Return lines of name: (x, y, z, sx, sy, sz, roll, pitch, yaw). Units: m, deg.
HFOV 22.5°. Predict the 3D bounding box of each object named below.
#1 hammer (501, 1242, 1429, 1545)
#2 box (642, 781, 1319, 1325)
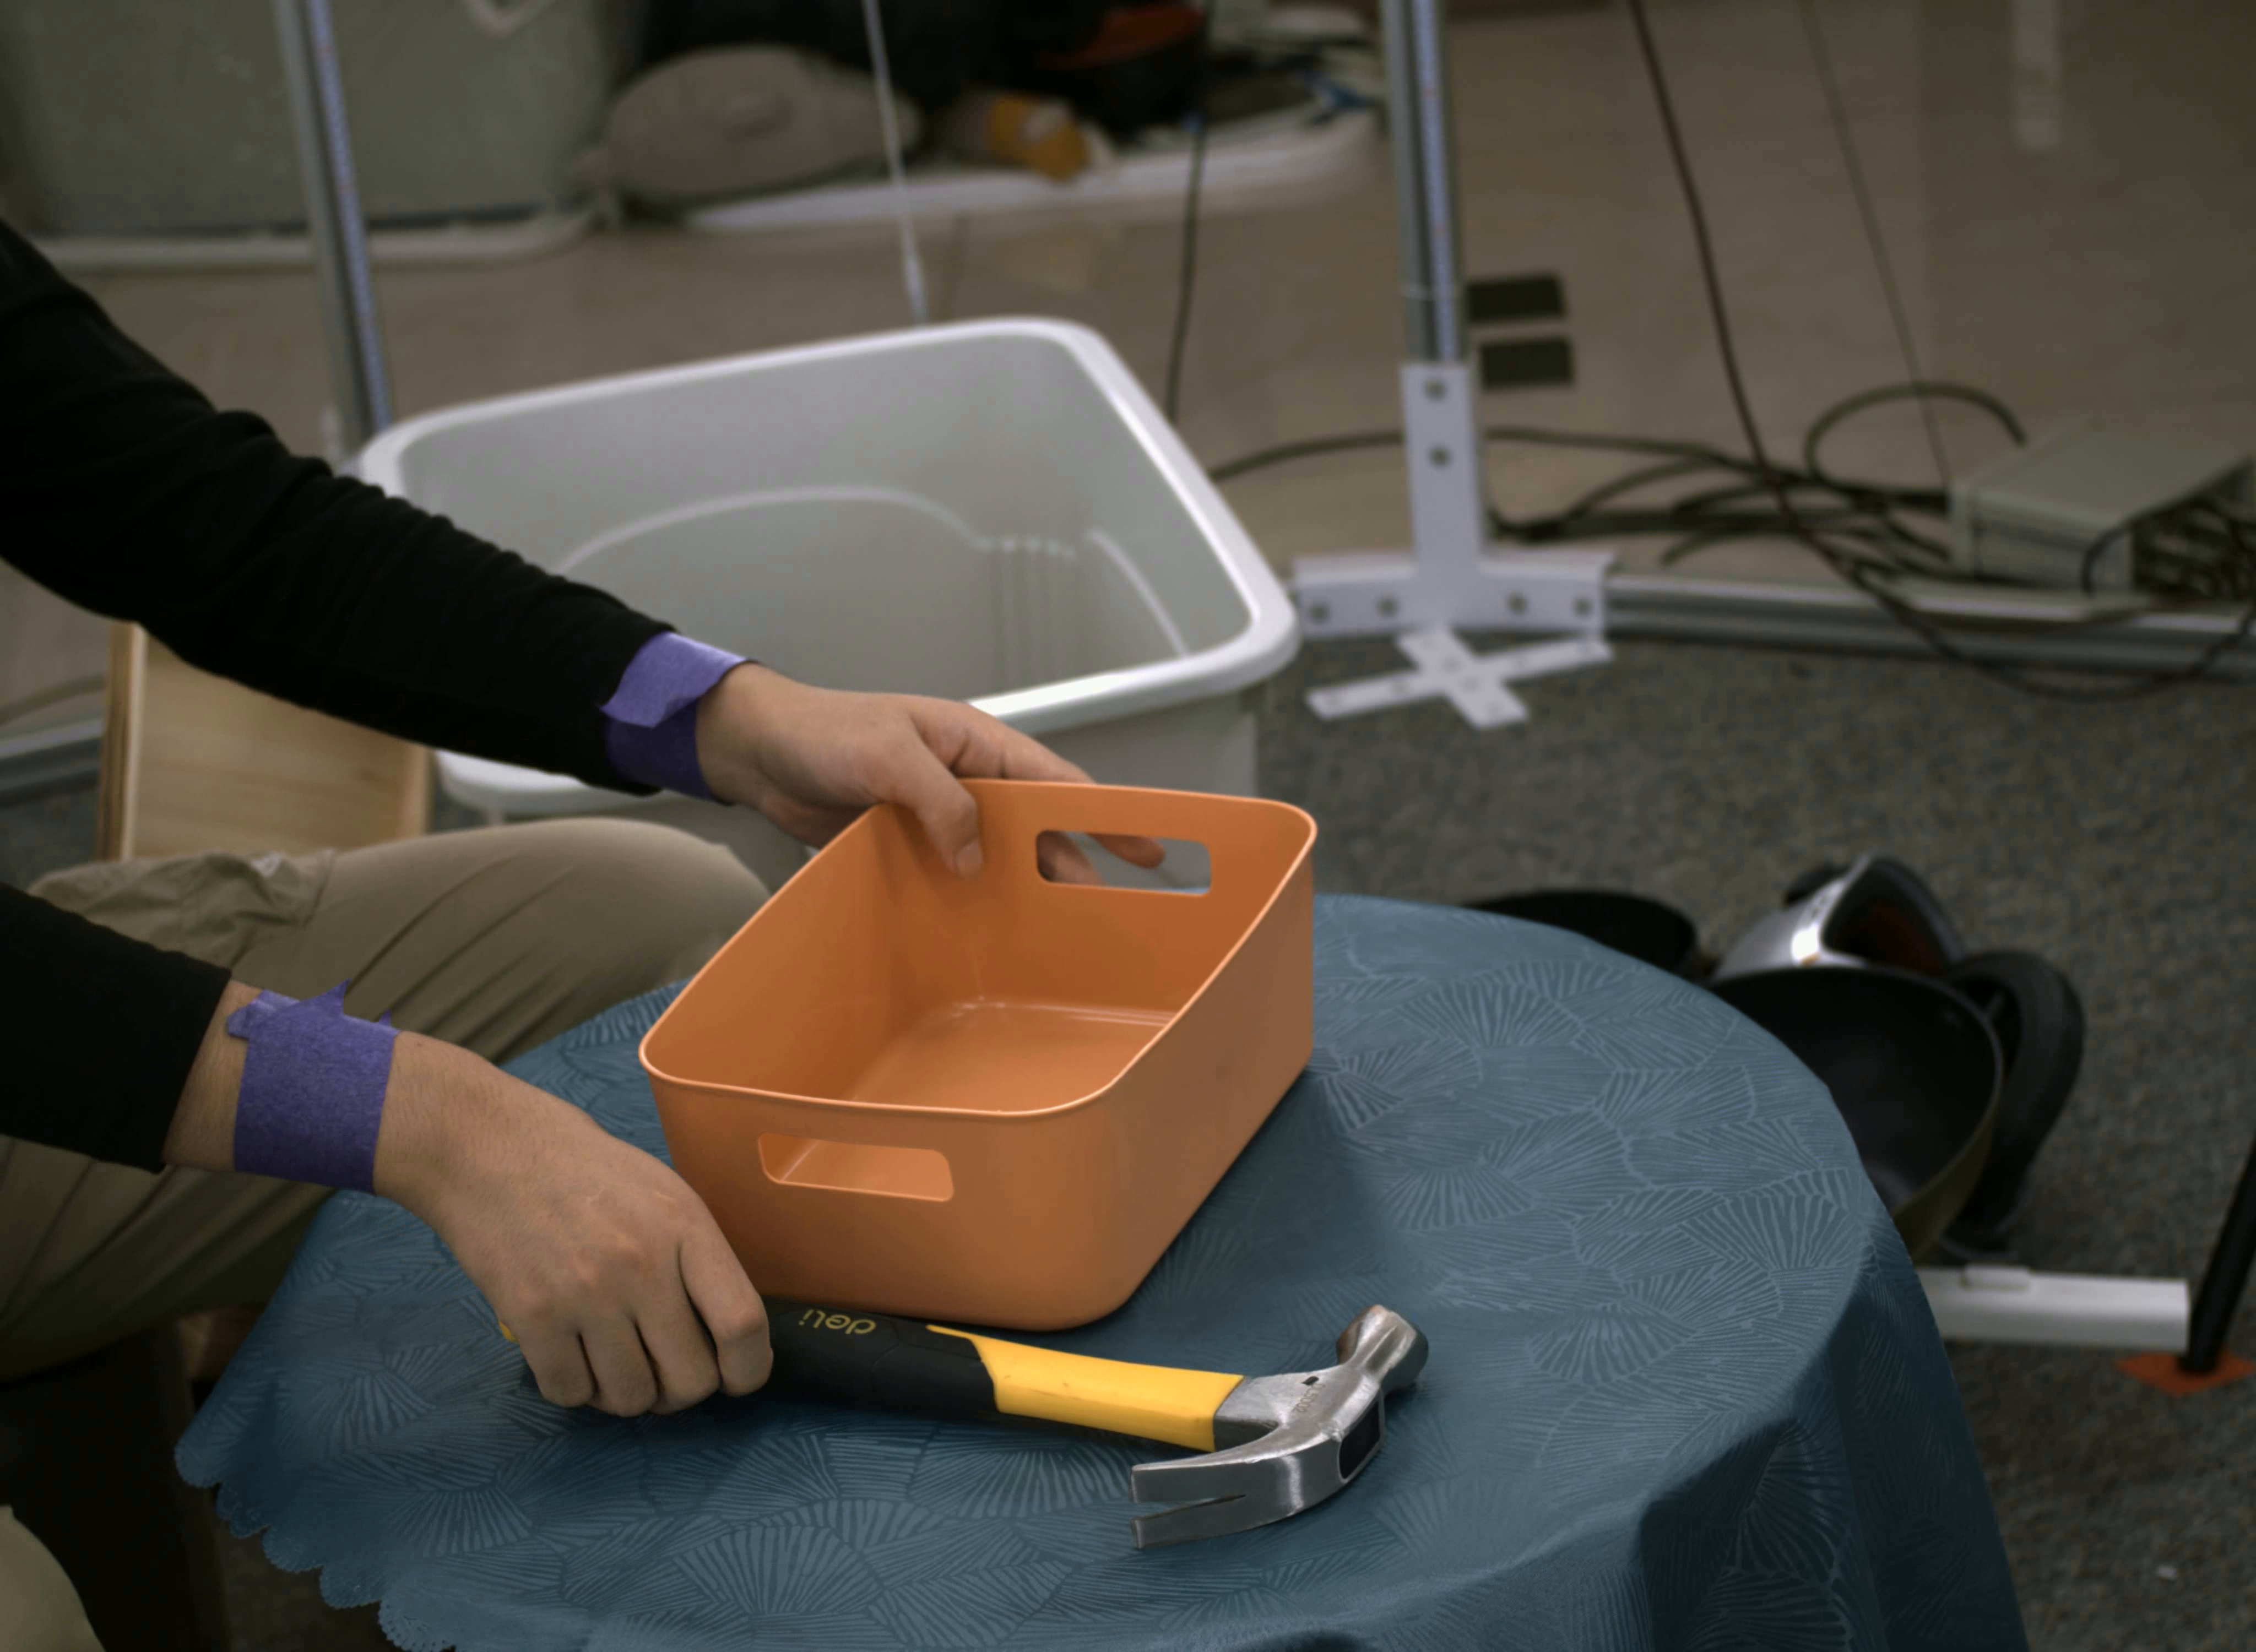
hammer: (-0.072, 0.188, 2.012, 0.337, 0.033, 0.130, 8, 29, 24)
box: (-0.048, 0.085, 2.153, 0.199, 0.104, 0.269, 4, 27, 22)
